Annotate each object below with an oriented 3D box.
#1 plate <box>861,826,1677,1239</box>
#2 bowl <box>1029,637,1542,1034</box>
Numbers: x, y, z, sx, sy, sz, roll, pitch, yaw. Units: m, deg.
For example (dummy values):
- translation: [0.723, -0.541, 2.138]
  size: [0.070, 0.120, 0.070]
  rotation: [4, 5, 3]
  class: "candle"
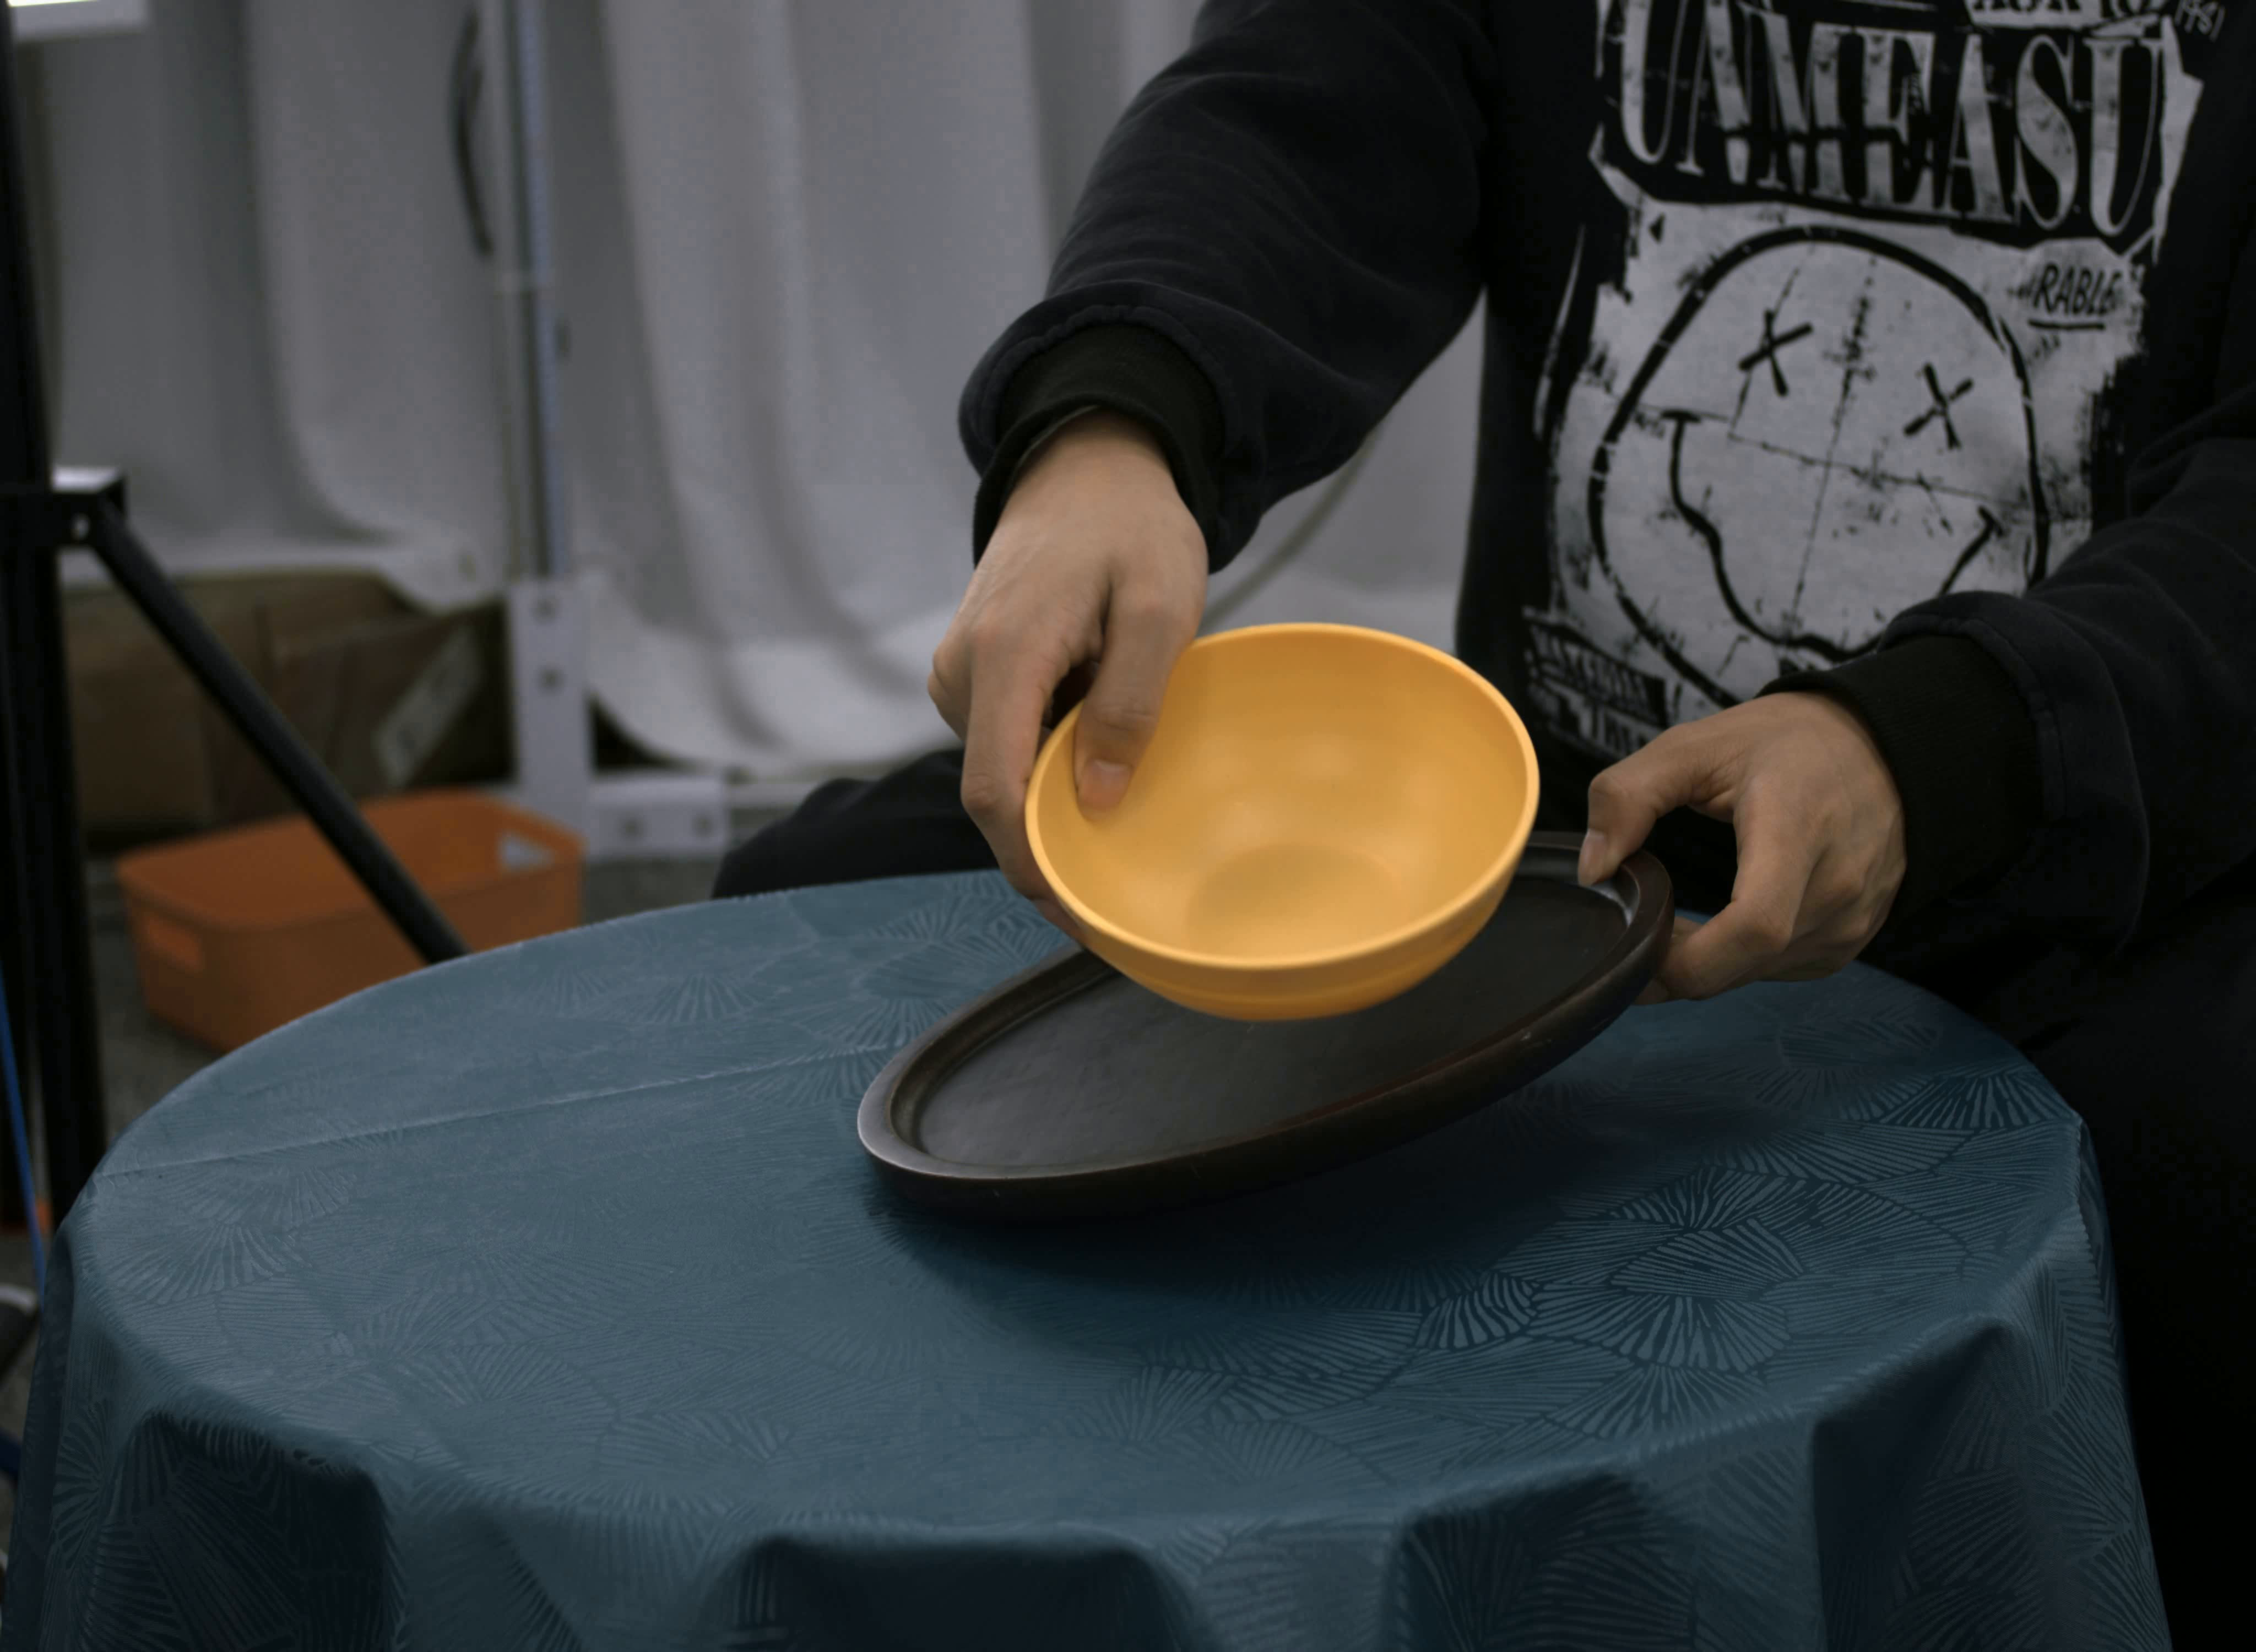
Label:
- translation: [0.043, 0.060, 1.575]
  size: [0.254, 0.029, 0.256]
  rotation: [-19, 14, 3]
  class: "plate"
- translation: [0.045, 0.014, 1.505]
  size: [0.145, 0.059, 0.147]
  rotation: [-4, 40, 2]
  class: "bowl"
